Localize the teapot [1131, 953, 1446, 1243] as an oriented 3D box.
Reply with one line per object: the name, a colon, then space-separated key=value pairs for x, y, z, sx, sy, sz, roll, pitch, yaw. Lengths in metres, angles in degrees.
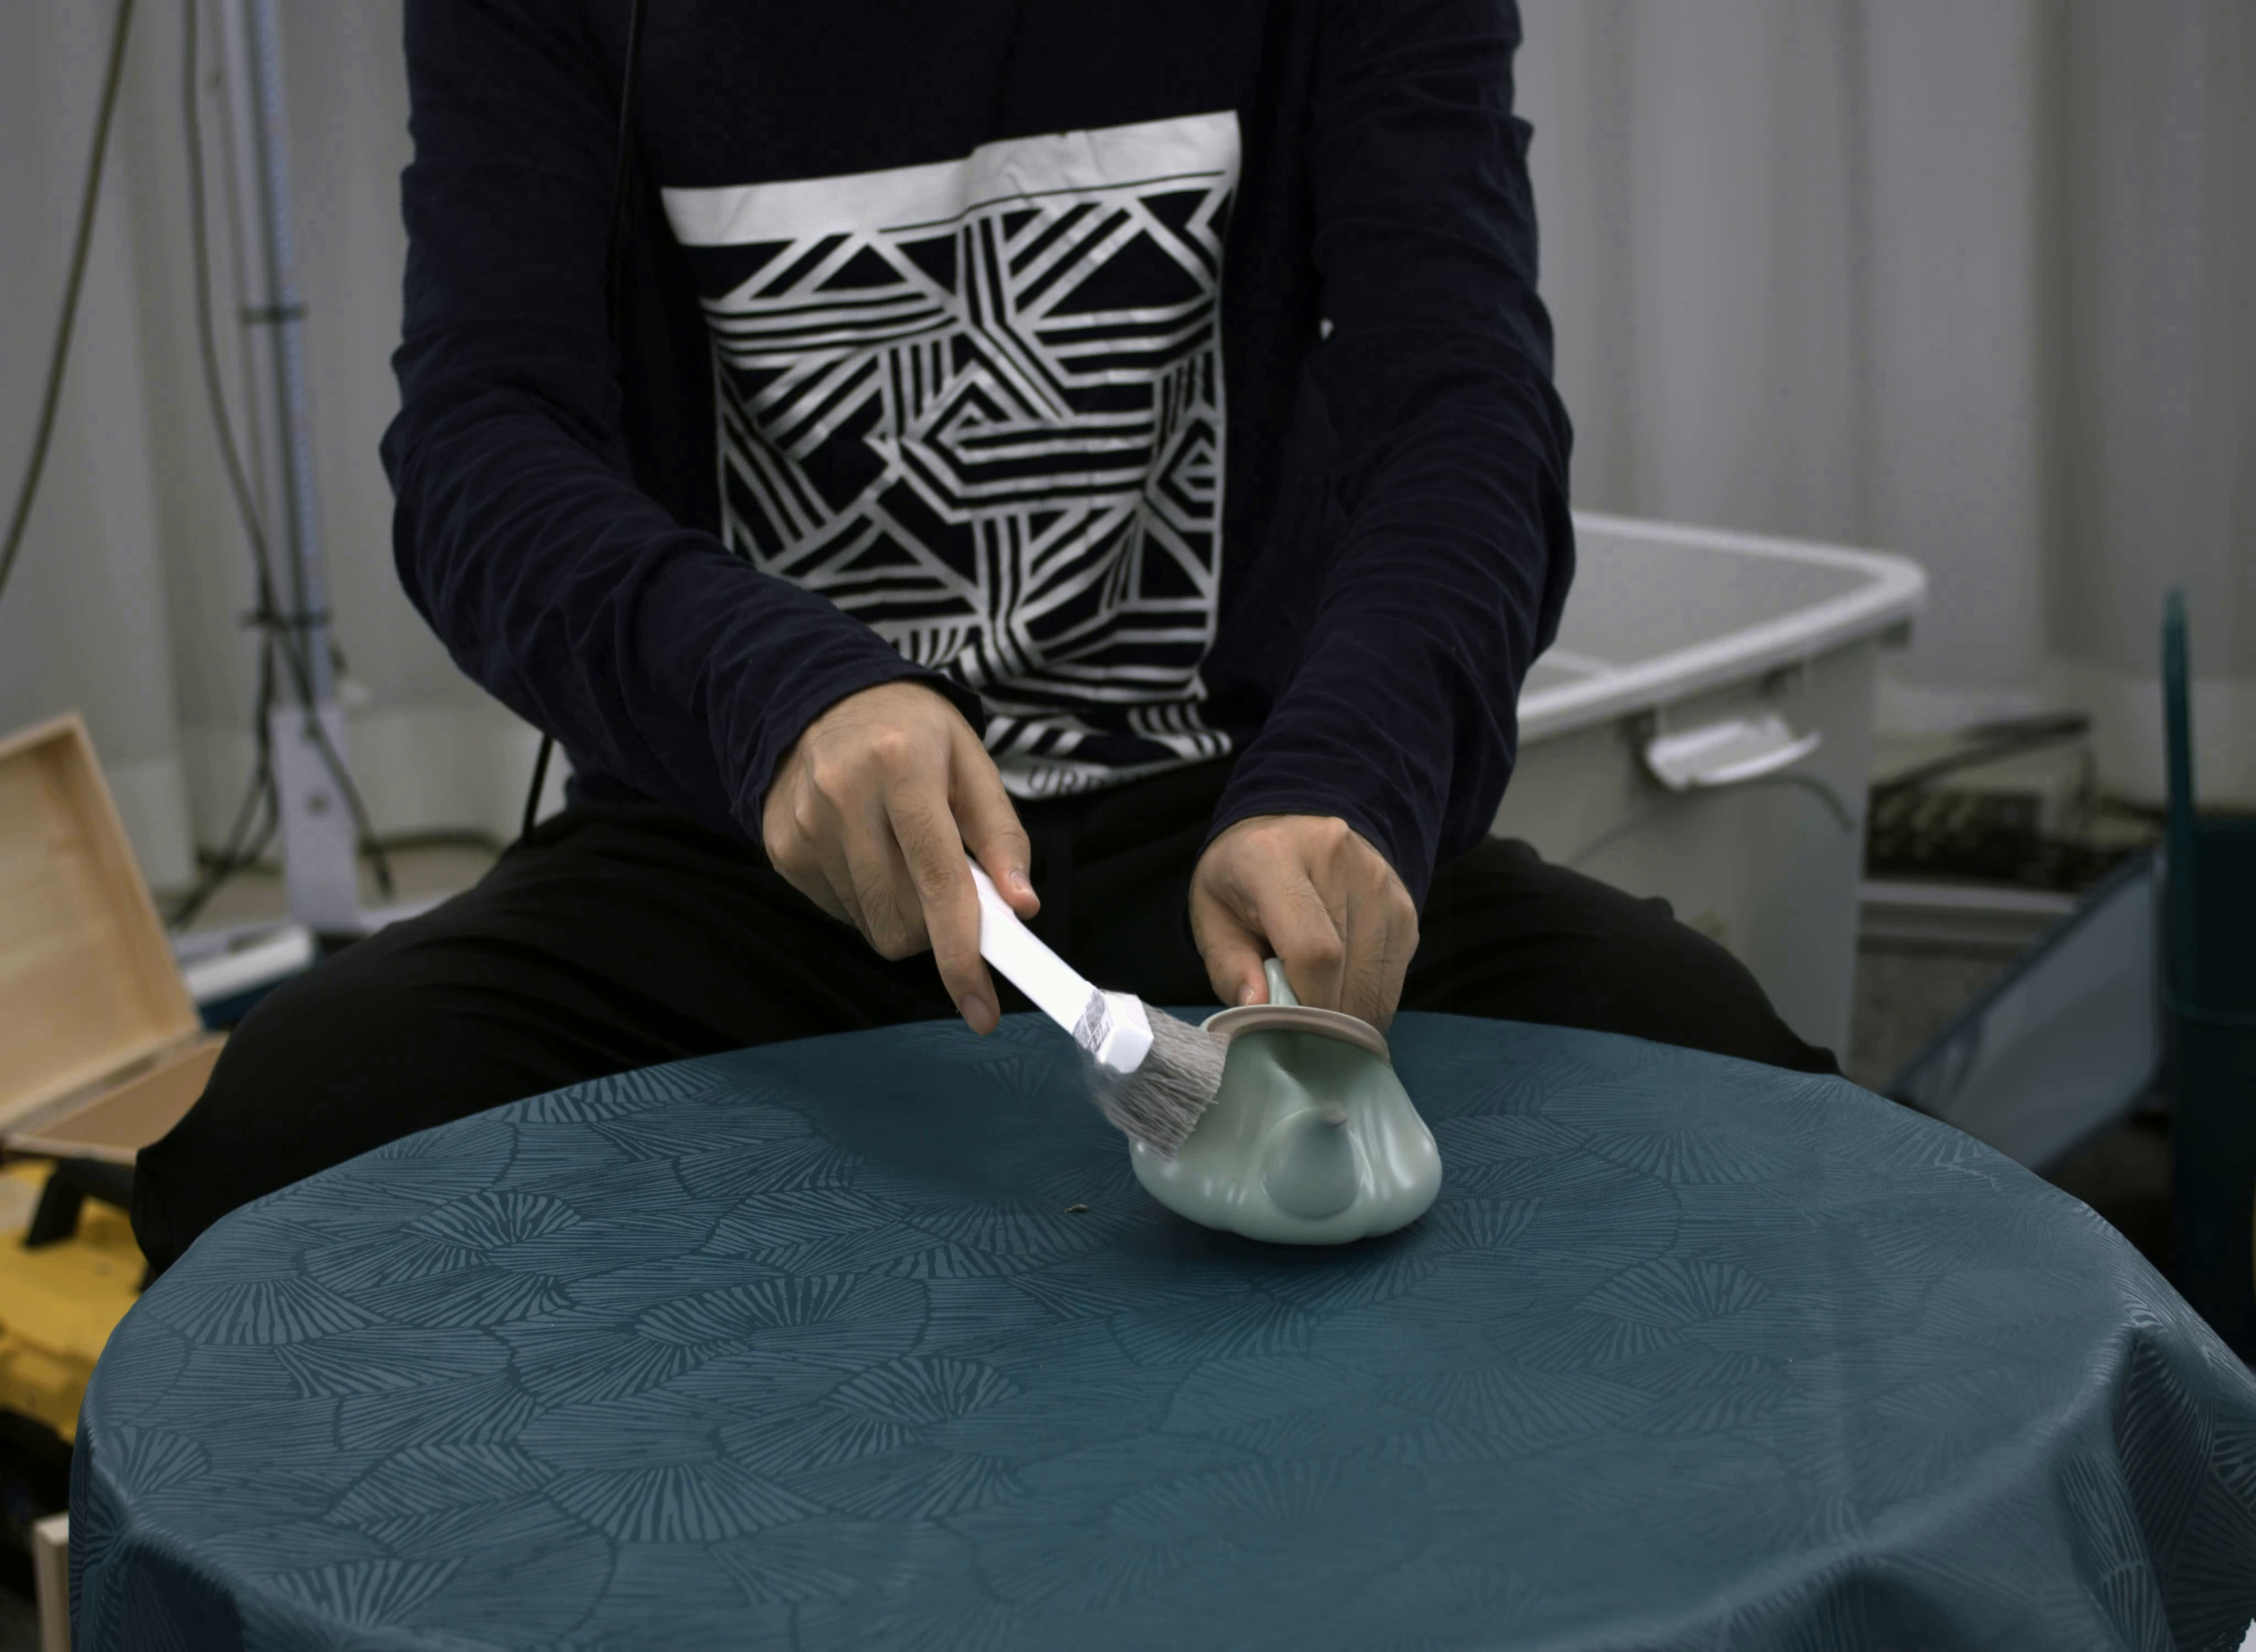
teapot: x=0.049 y=0.087 z=1.674 sx=0.096 sy=0.061 sz=0.138 roll=0 pitch=21 yaw=-9

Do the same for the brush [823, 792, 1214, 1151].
brush: x=-0.033 y=0.042 z=1.712 sx=0.050 sy=0.034 sz=0.246 roll=21 pitch=9 yaw=-29
